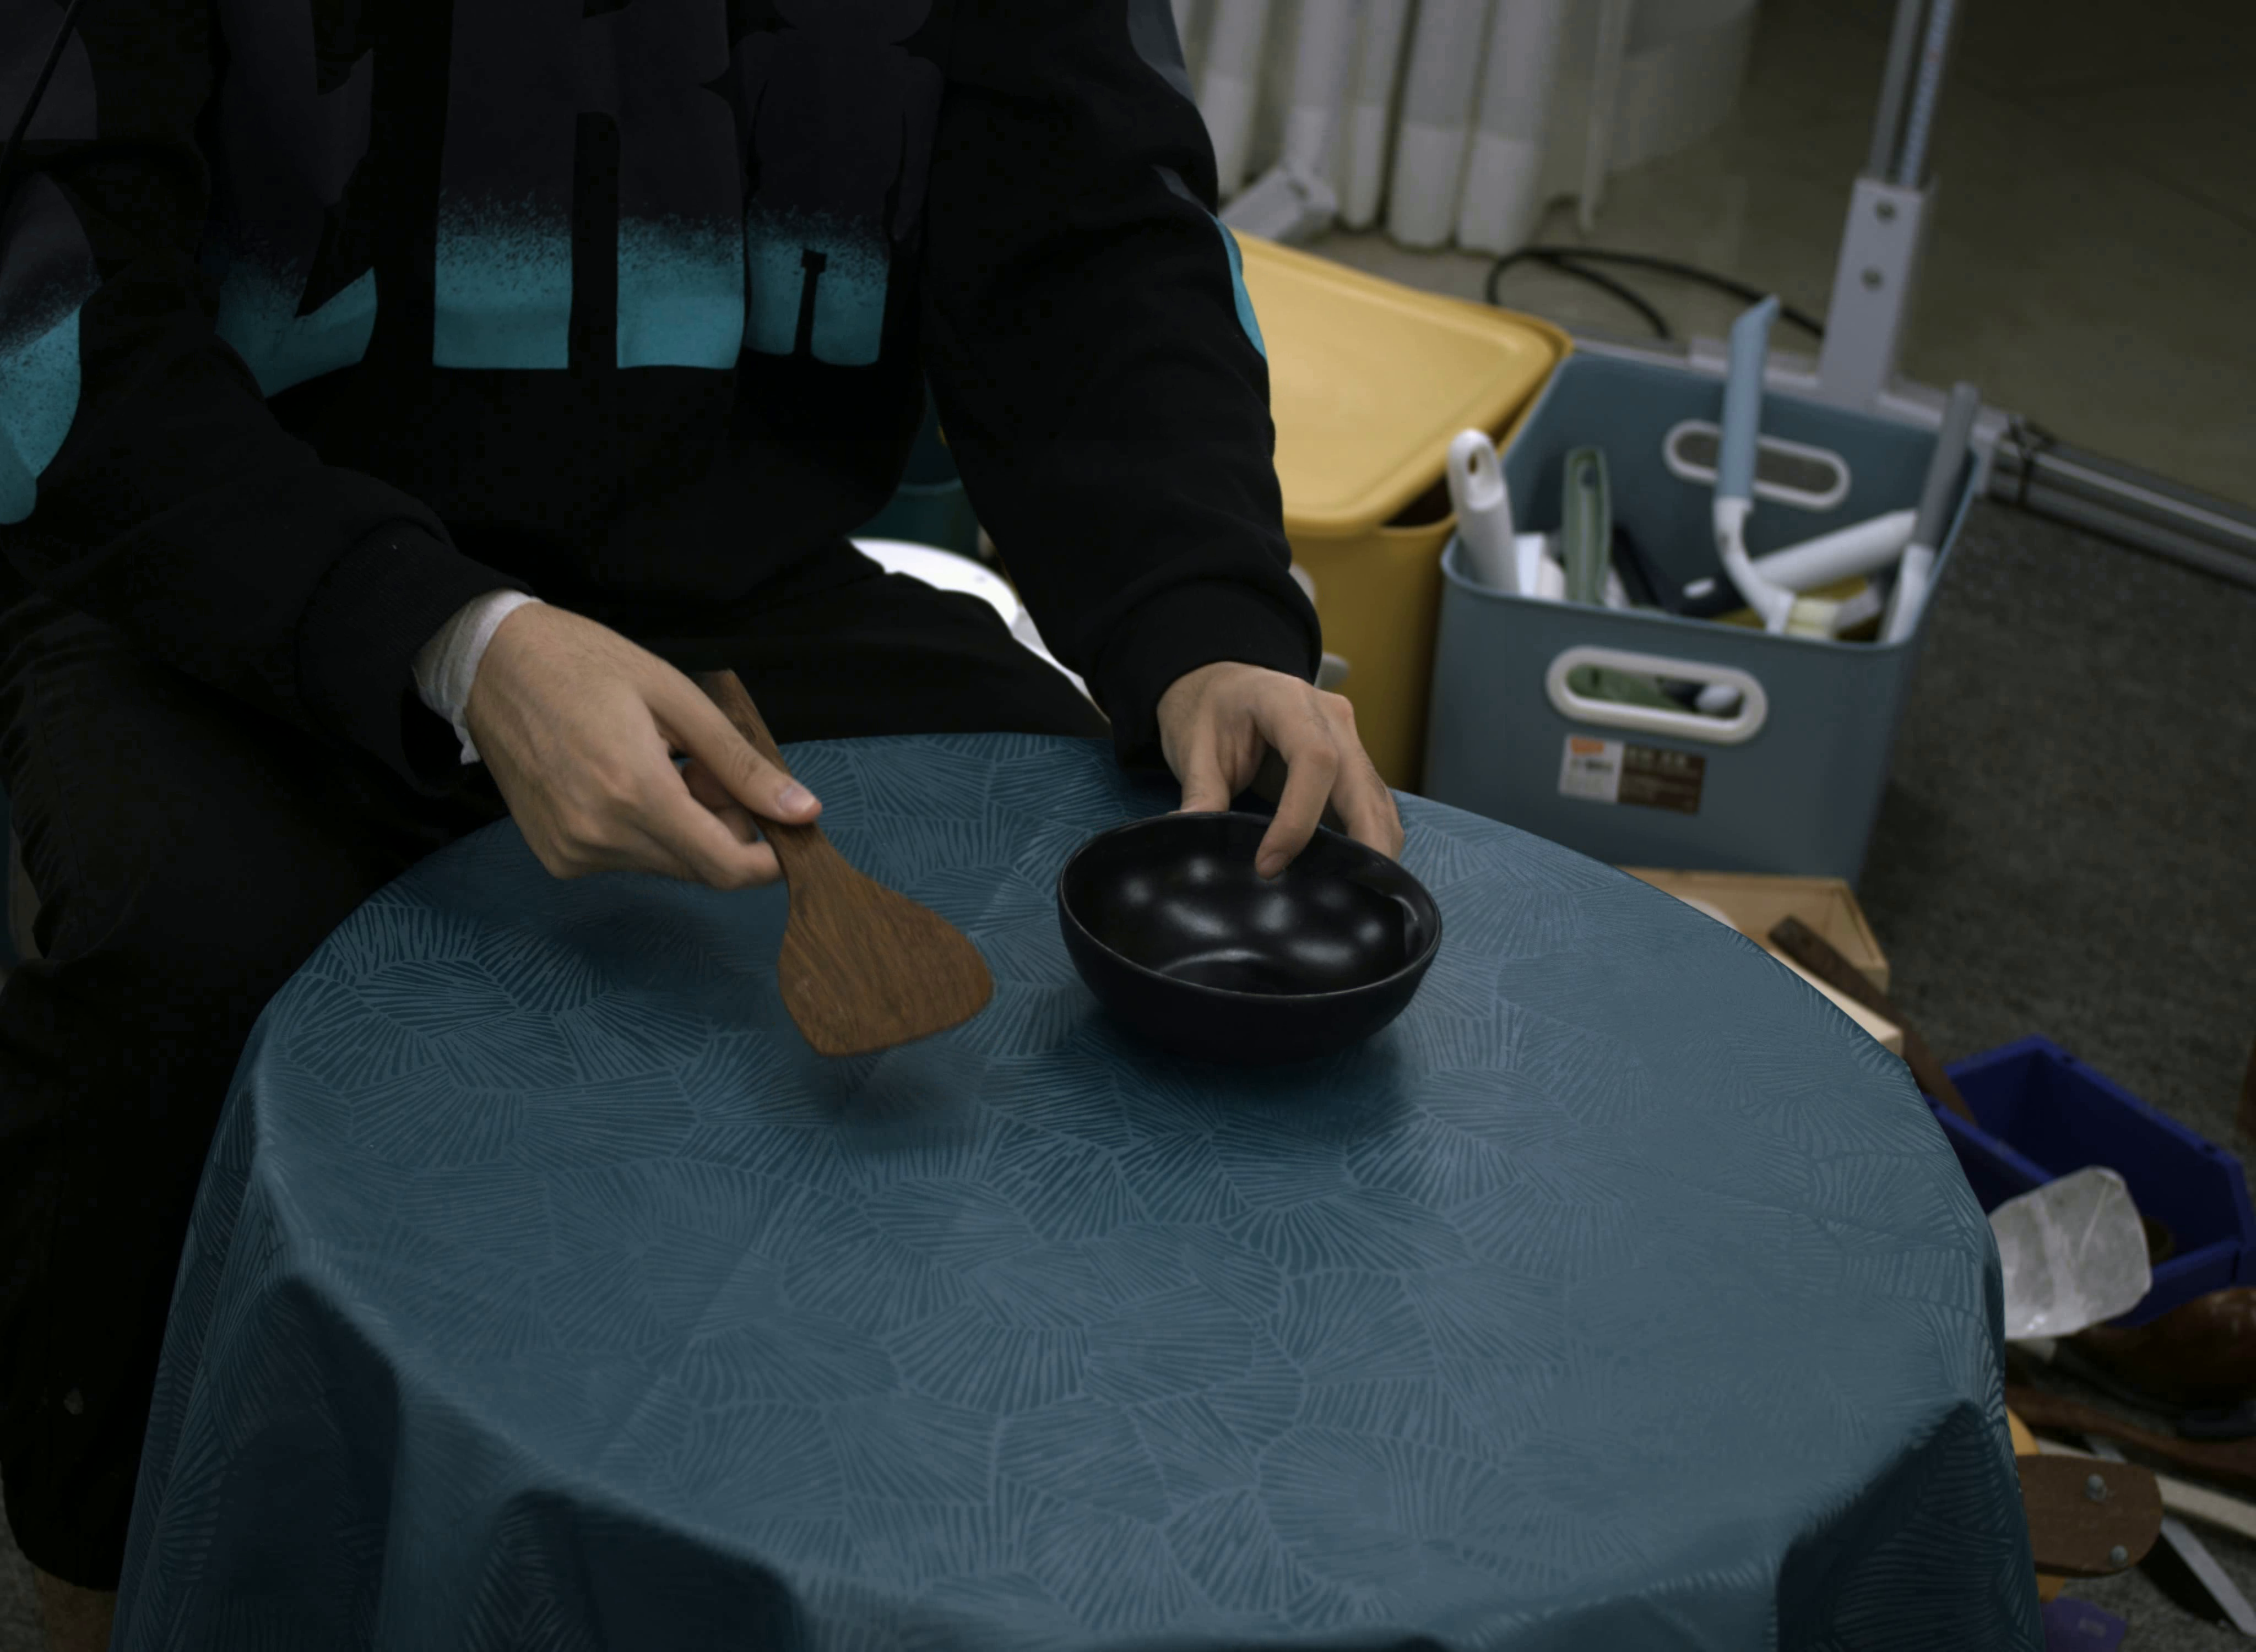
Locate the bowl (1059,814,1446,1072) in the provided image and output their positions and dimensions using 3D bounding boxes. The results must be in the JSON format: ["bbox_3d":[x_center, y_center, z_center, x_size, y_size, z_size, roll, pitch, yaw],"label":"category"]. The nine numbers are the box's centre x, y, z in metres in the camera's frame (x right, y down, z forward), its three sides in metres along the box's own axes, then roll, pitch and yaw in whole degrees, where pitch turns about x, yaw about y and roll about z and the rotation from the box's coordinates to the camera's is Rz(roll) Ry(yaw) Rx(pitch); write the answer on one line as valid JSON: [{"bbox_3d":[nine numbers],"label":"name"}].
[{"bbox_3d":[0.043,0.049,1.905,0.139,0.049,0.141,3,28,-2],"label":"bowl"}]

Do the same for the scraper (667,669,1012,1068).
[{"bbox_3d":[-0.114,0.012,1.880,0.075,0.011,0.213,-16,46,-20],"label":"scraper"}]
